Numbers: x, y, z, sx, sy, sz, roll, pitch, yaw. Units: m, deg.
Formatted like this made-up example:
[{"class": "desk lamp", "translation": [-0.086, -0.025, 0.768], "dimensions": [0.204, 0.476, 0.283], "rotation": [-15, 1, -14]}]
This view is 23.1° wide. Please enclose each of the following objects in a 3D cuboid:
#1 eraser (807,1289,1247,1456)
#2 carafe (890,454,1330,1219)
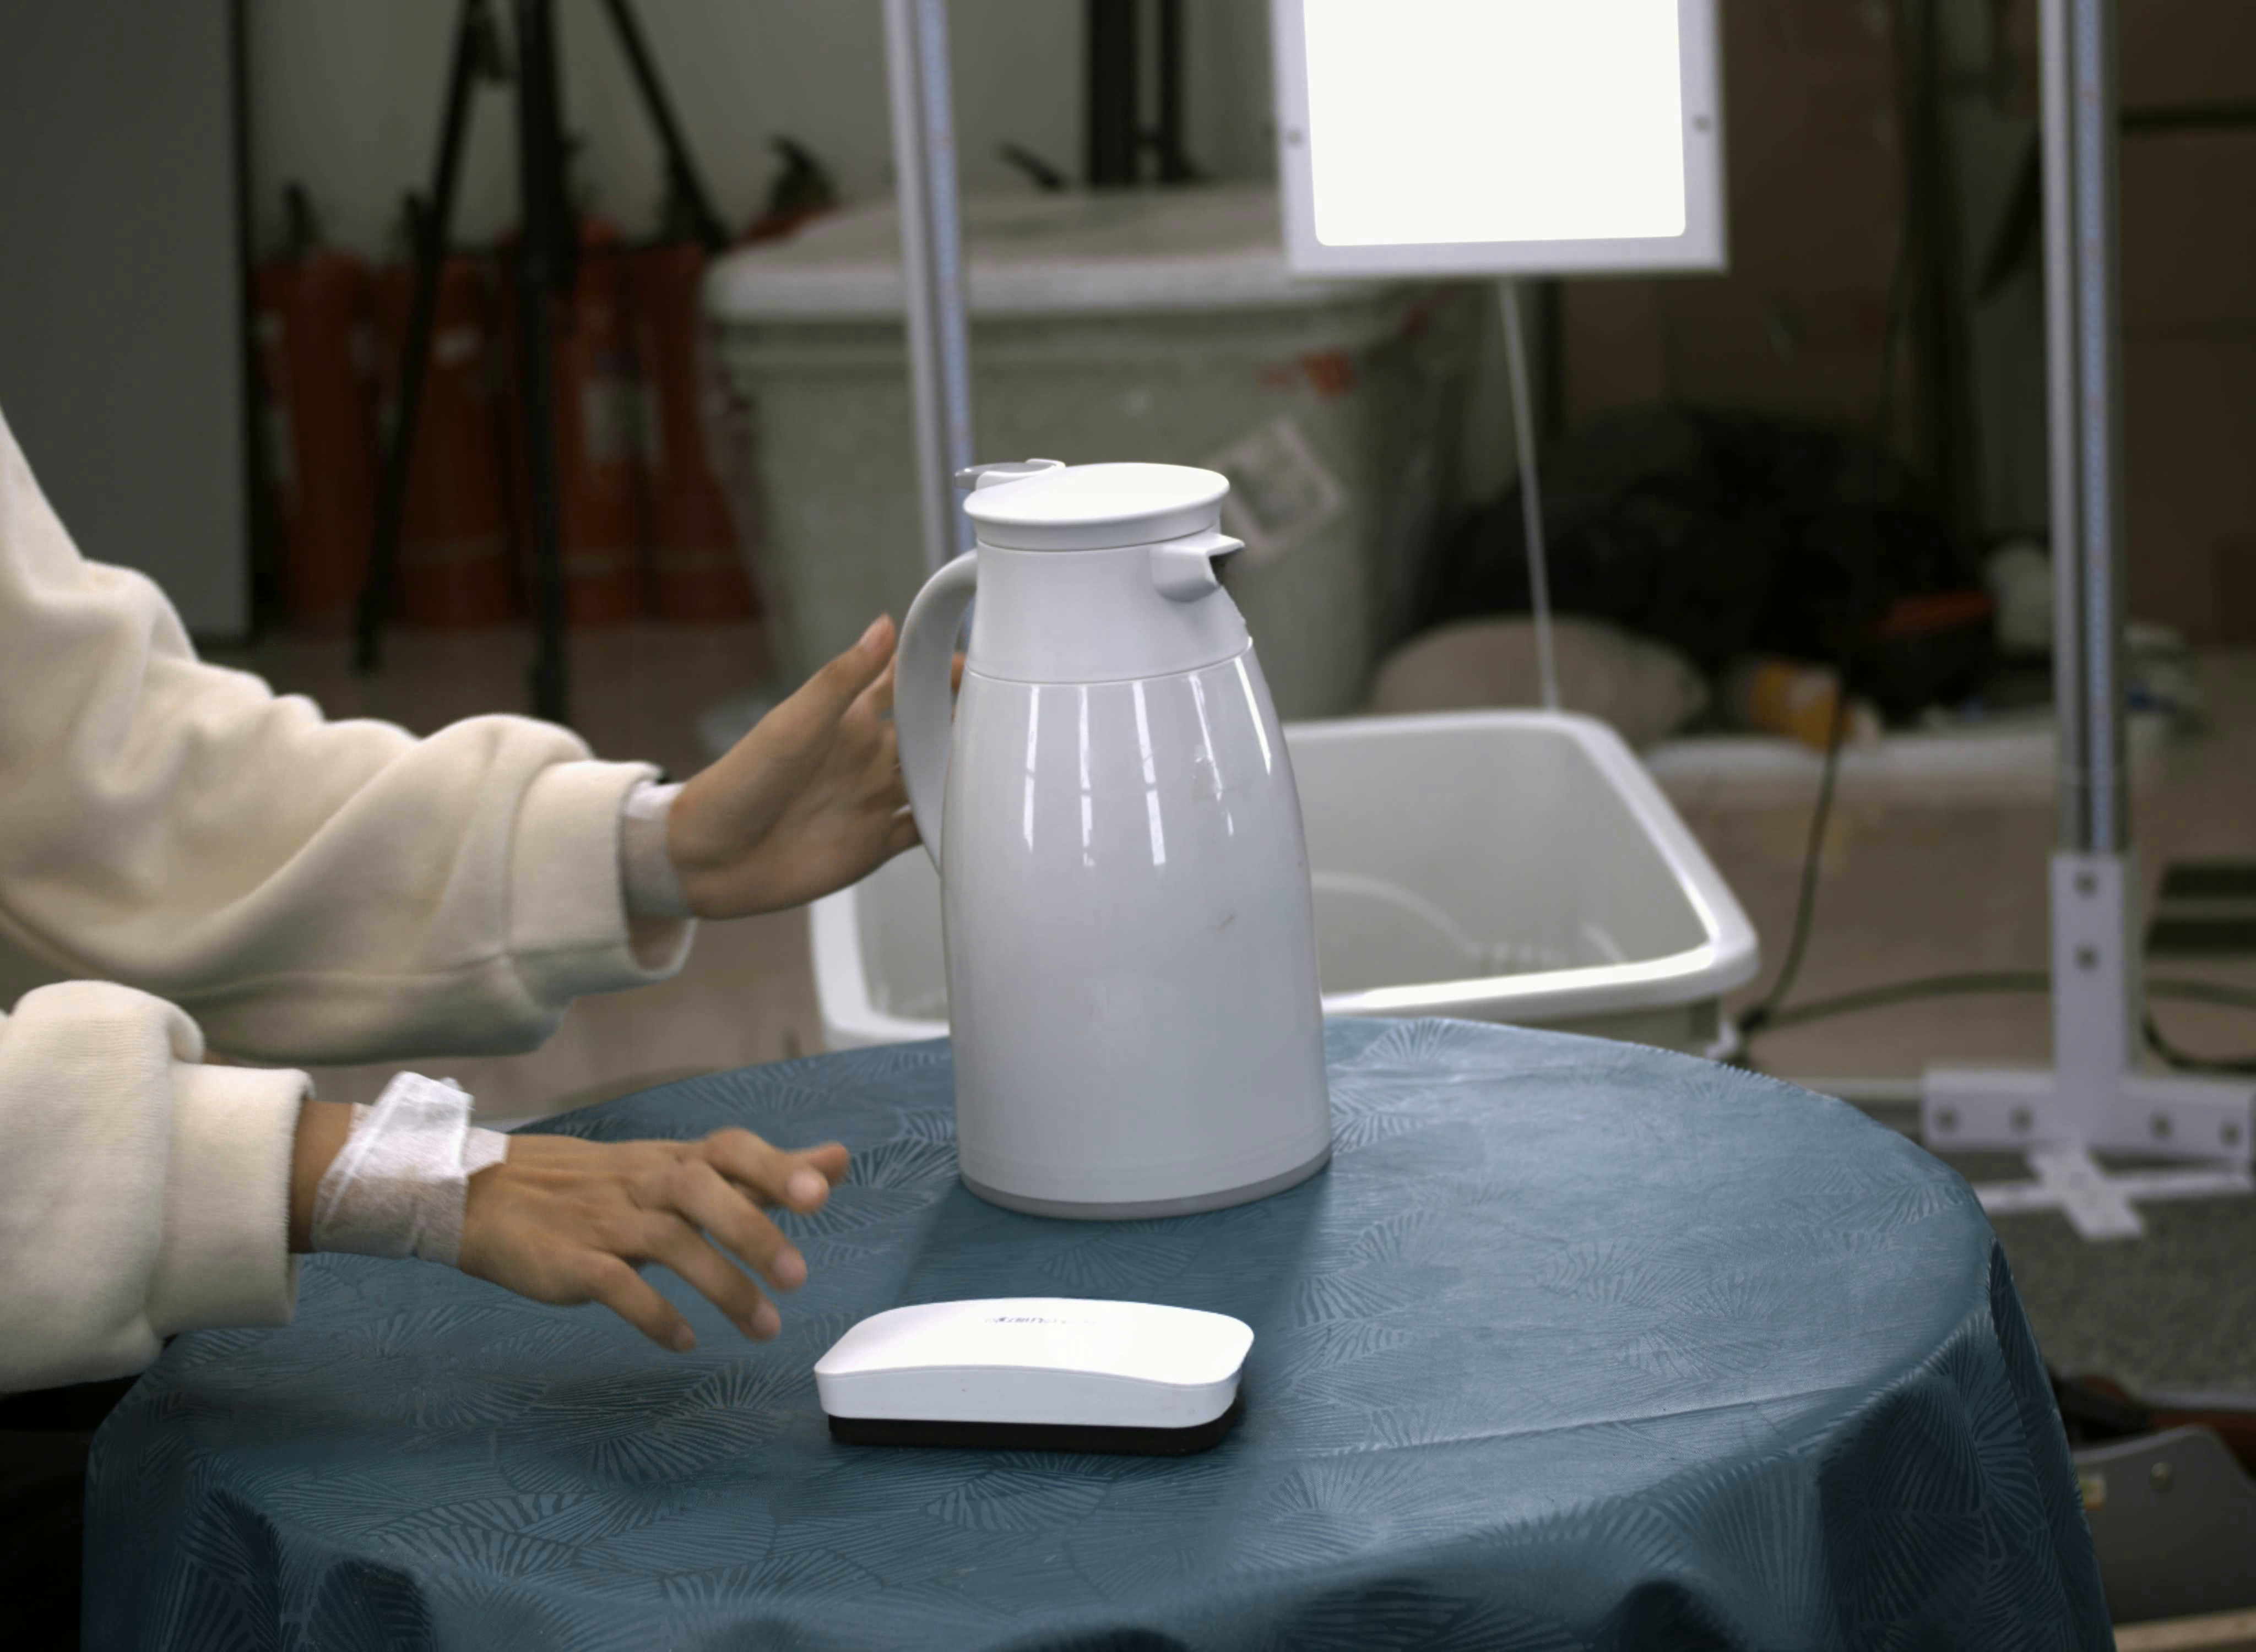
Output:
[{"class": "eraser", "translation": [-0.030, 0.167, 1.679], "dimensions": [0.133, 0.034, 0.062], "rotation": [0, 12, 19]}, {"class": "carafe", "translation": [-0.017, -0.004, 1.913], "dimensions": [0.129, 0.249, 0.171], "rotation": [-18, 18, -42]}]
